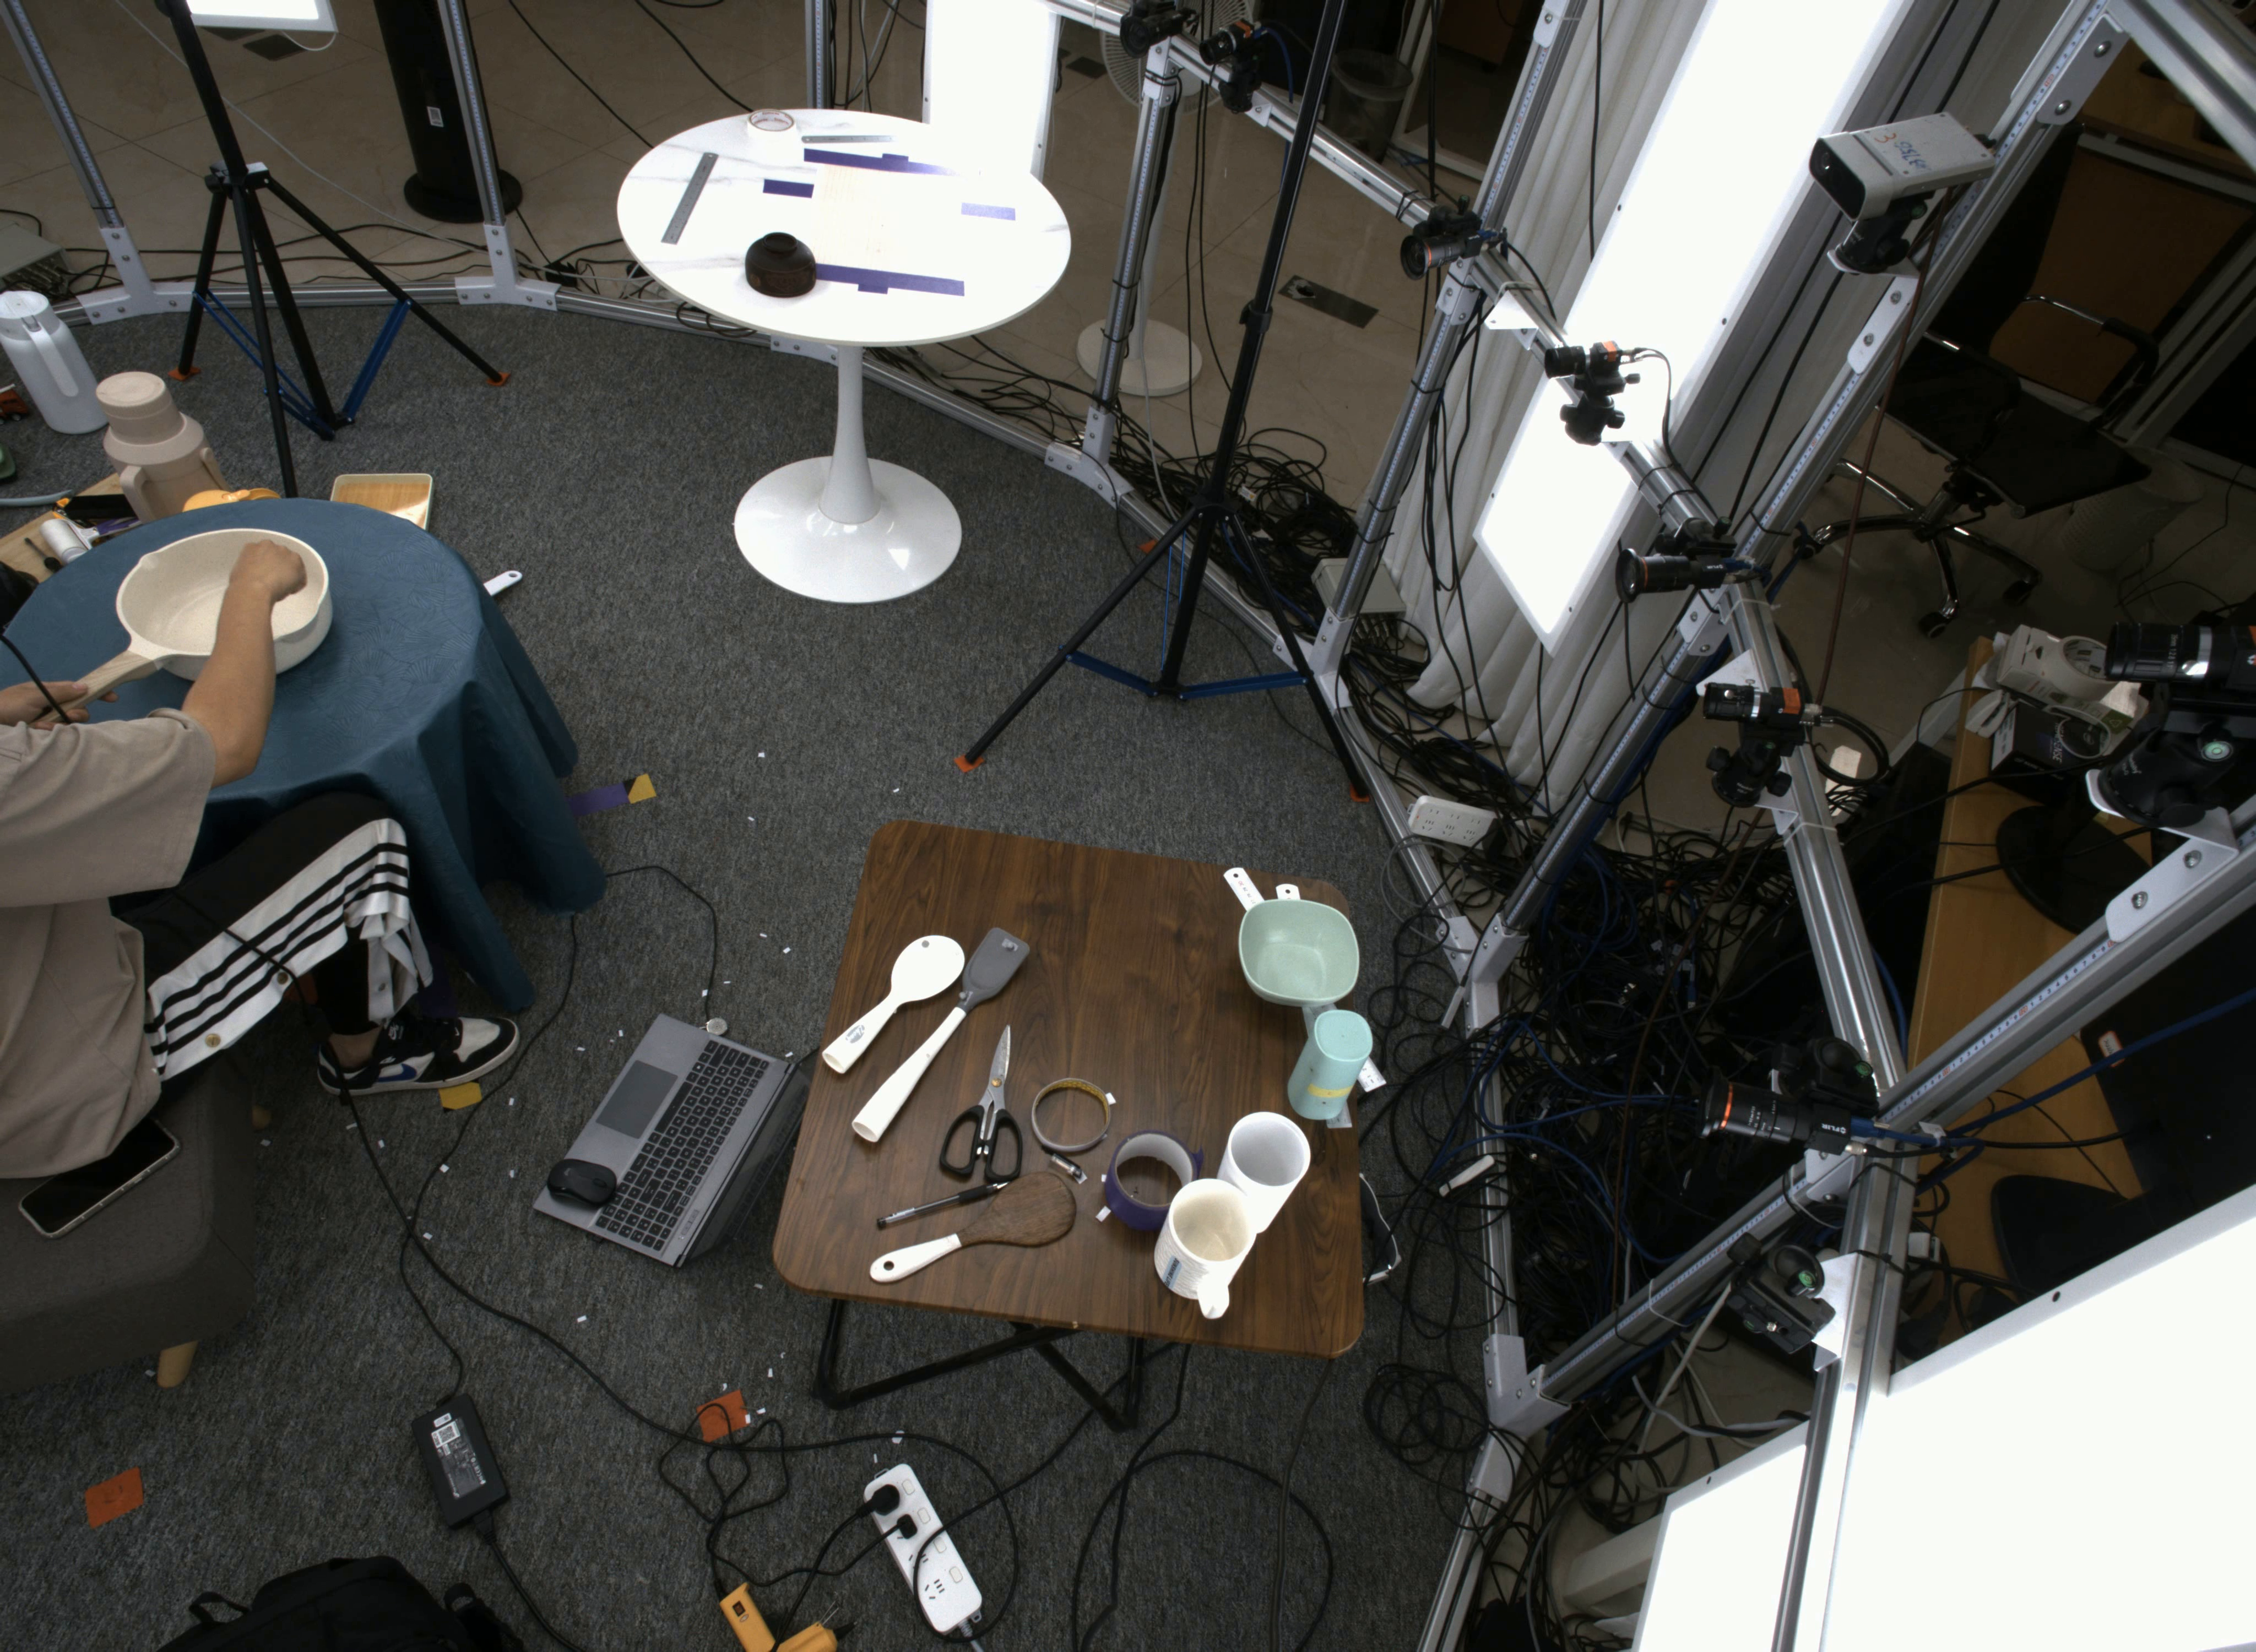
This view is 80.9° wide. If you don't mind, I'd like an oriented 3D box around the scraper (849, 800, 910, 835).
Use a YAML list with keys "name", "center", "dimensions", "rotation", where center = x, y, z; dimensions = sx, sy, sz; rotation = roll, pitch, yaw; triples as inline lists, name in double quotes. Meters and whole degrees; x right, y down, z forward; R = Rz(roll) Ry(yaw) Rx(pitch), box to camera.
- name: "scraper"
  center: [-0.295, -0.013, 1.552]
  dimensions: [0.039, 0.015, 0.165]
  rotation: [-18, 18, -23]

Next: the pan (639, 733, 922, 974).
- name: "pan"
  center: [-0.445, 0.053, 1.630]
  dimensions: [0.259, 0.104, 0.434]
  rotation: [35, 54, 11]
